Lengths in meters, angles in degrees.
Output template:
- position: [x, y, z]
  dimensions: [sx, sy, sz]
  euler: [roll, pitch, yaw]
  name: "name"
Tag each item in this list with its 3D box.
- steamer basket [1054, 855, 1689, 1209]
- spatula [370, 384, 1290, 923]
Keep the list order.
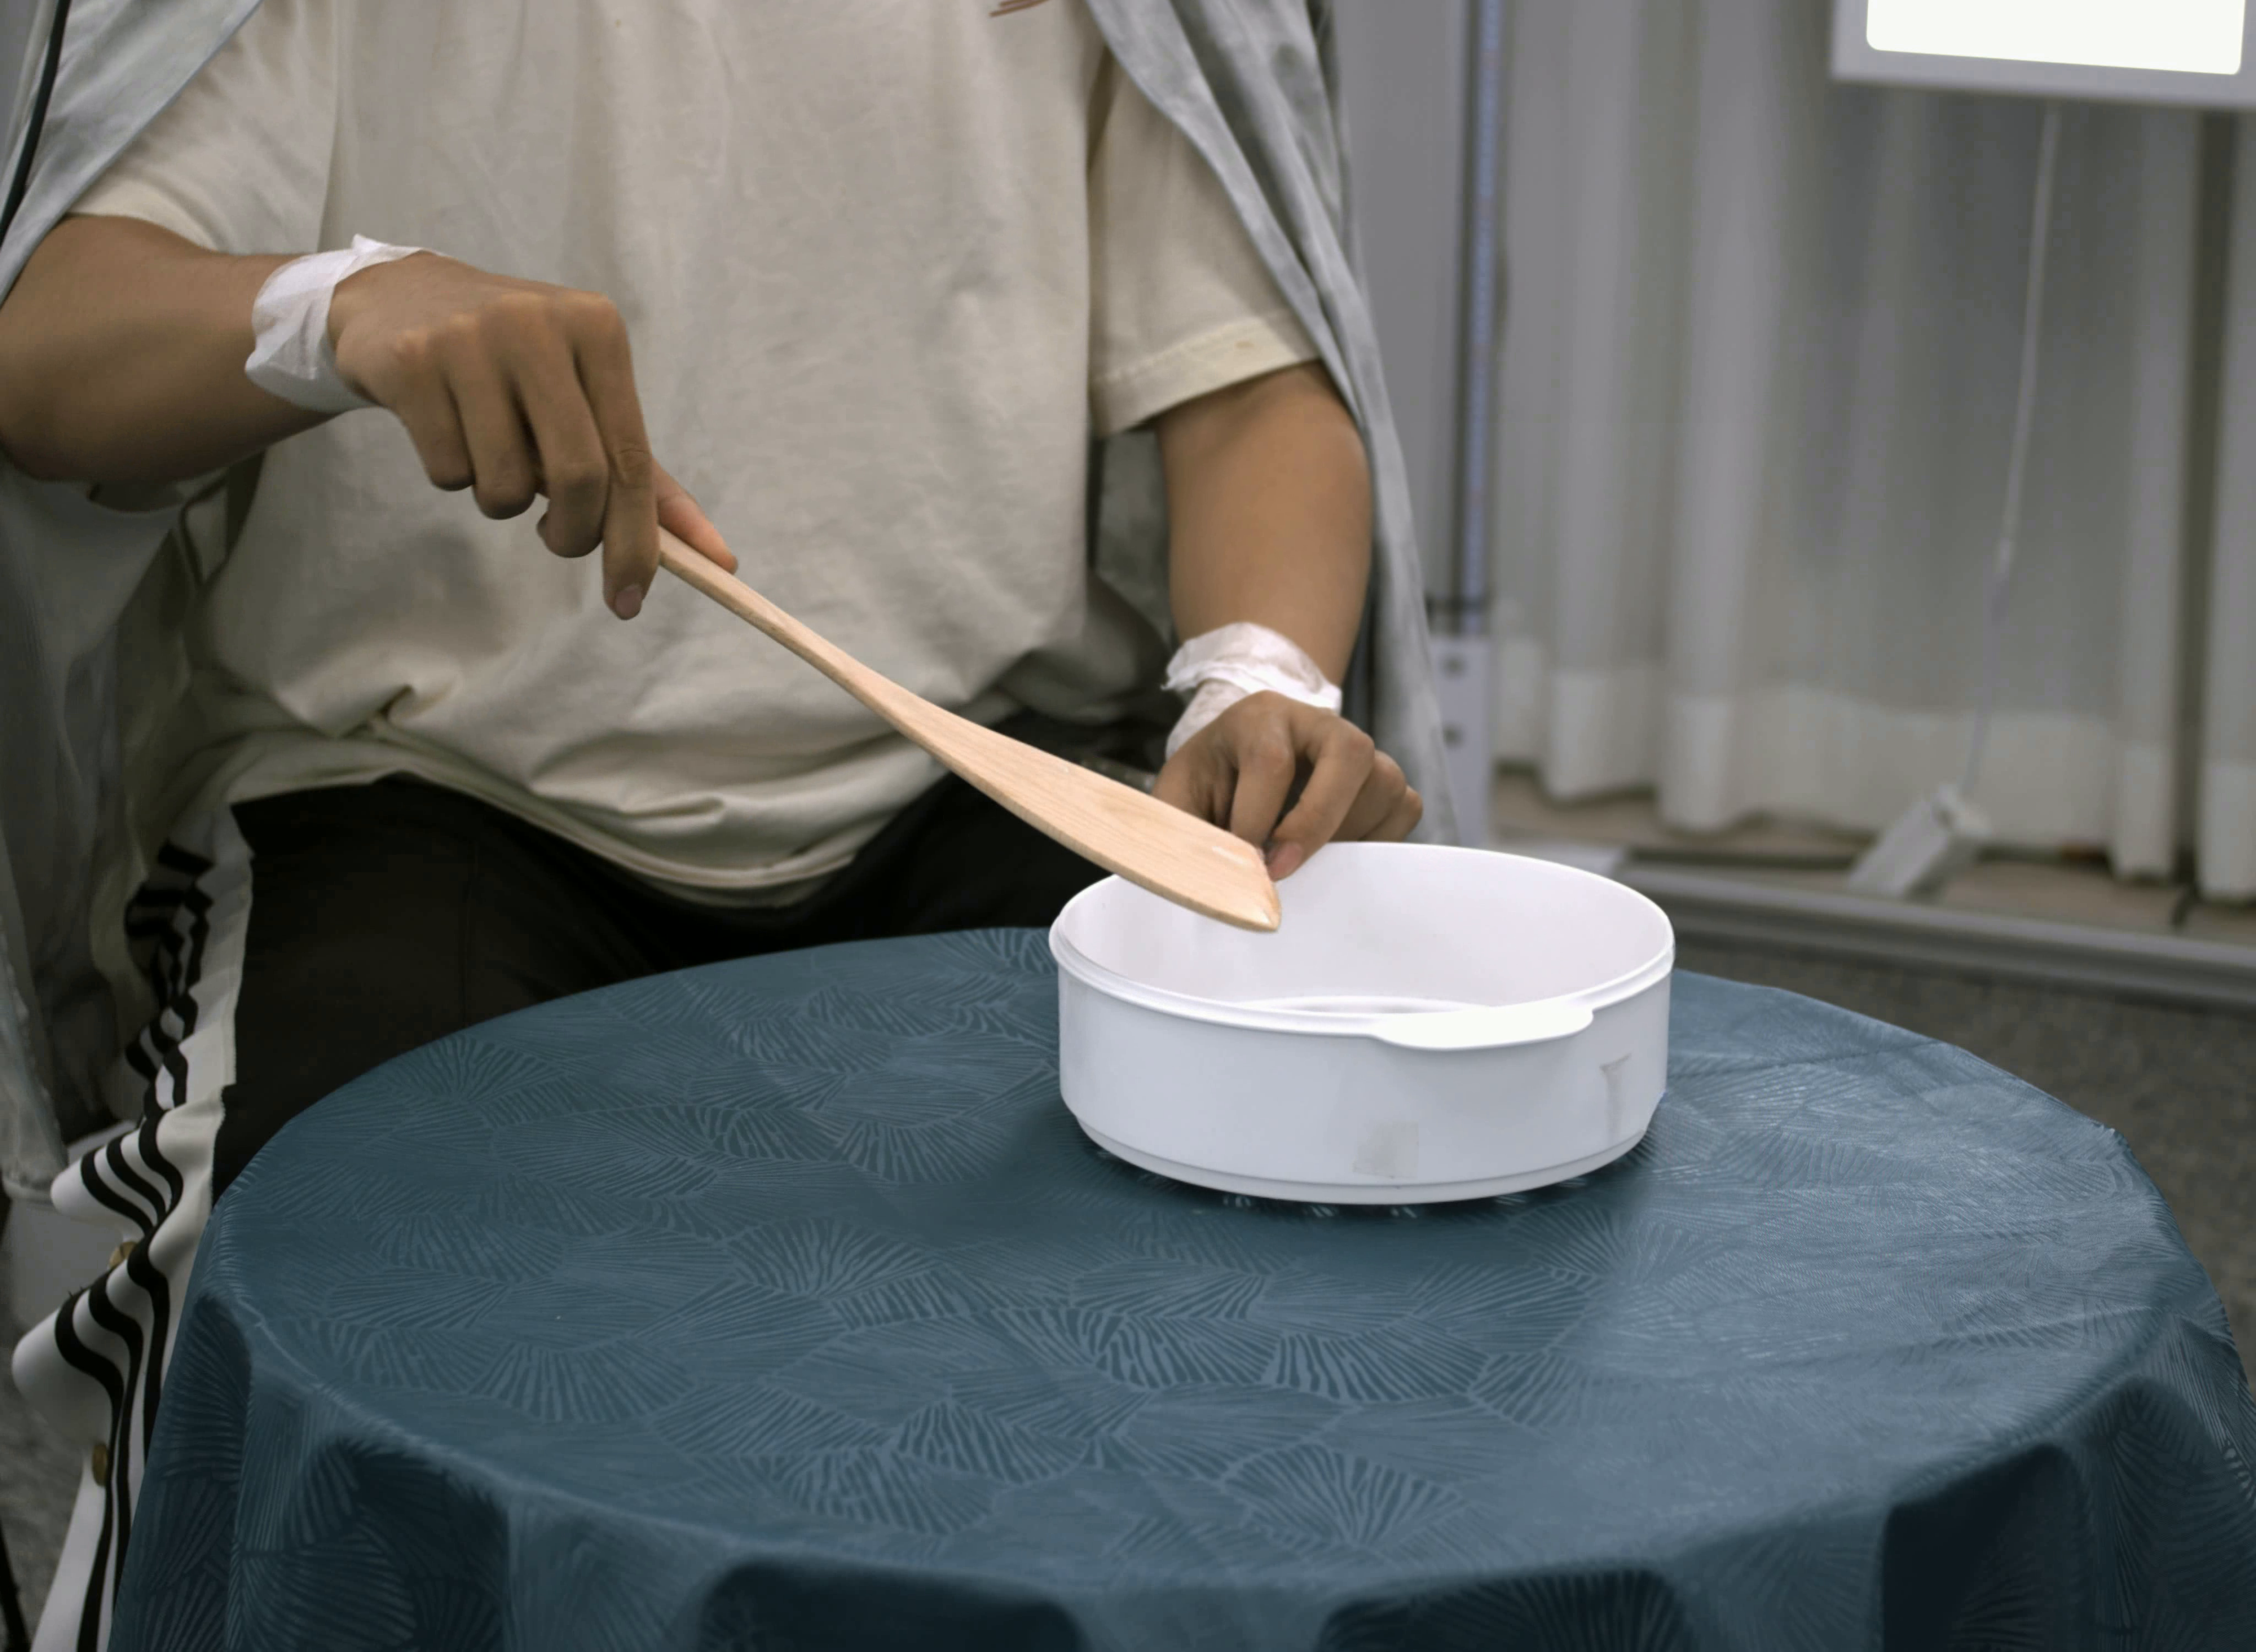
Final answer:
- position: [0.076, 0.065, 1.677]
  dimensions: [0.202, 0.070, 0.228]
  euler: [-4, 15, -20]
  name: "steamer basket"
- position: [-0.091, -0.056, 1.630]
  dimensions: [0.327, 0.016, 0.080]
  euler: [31, 17, -1]
  name: "spatula"
